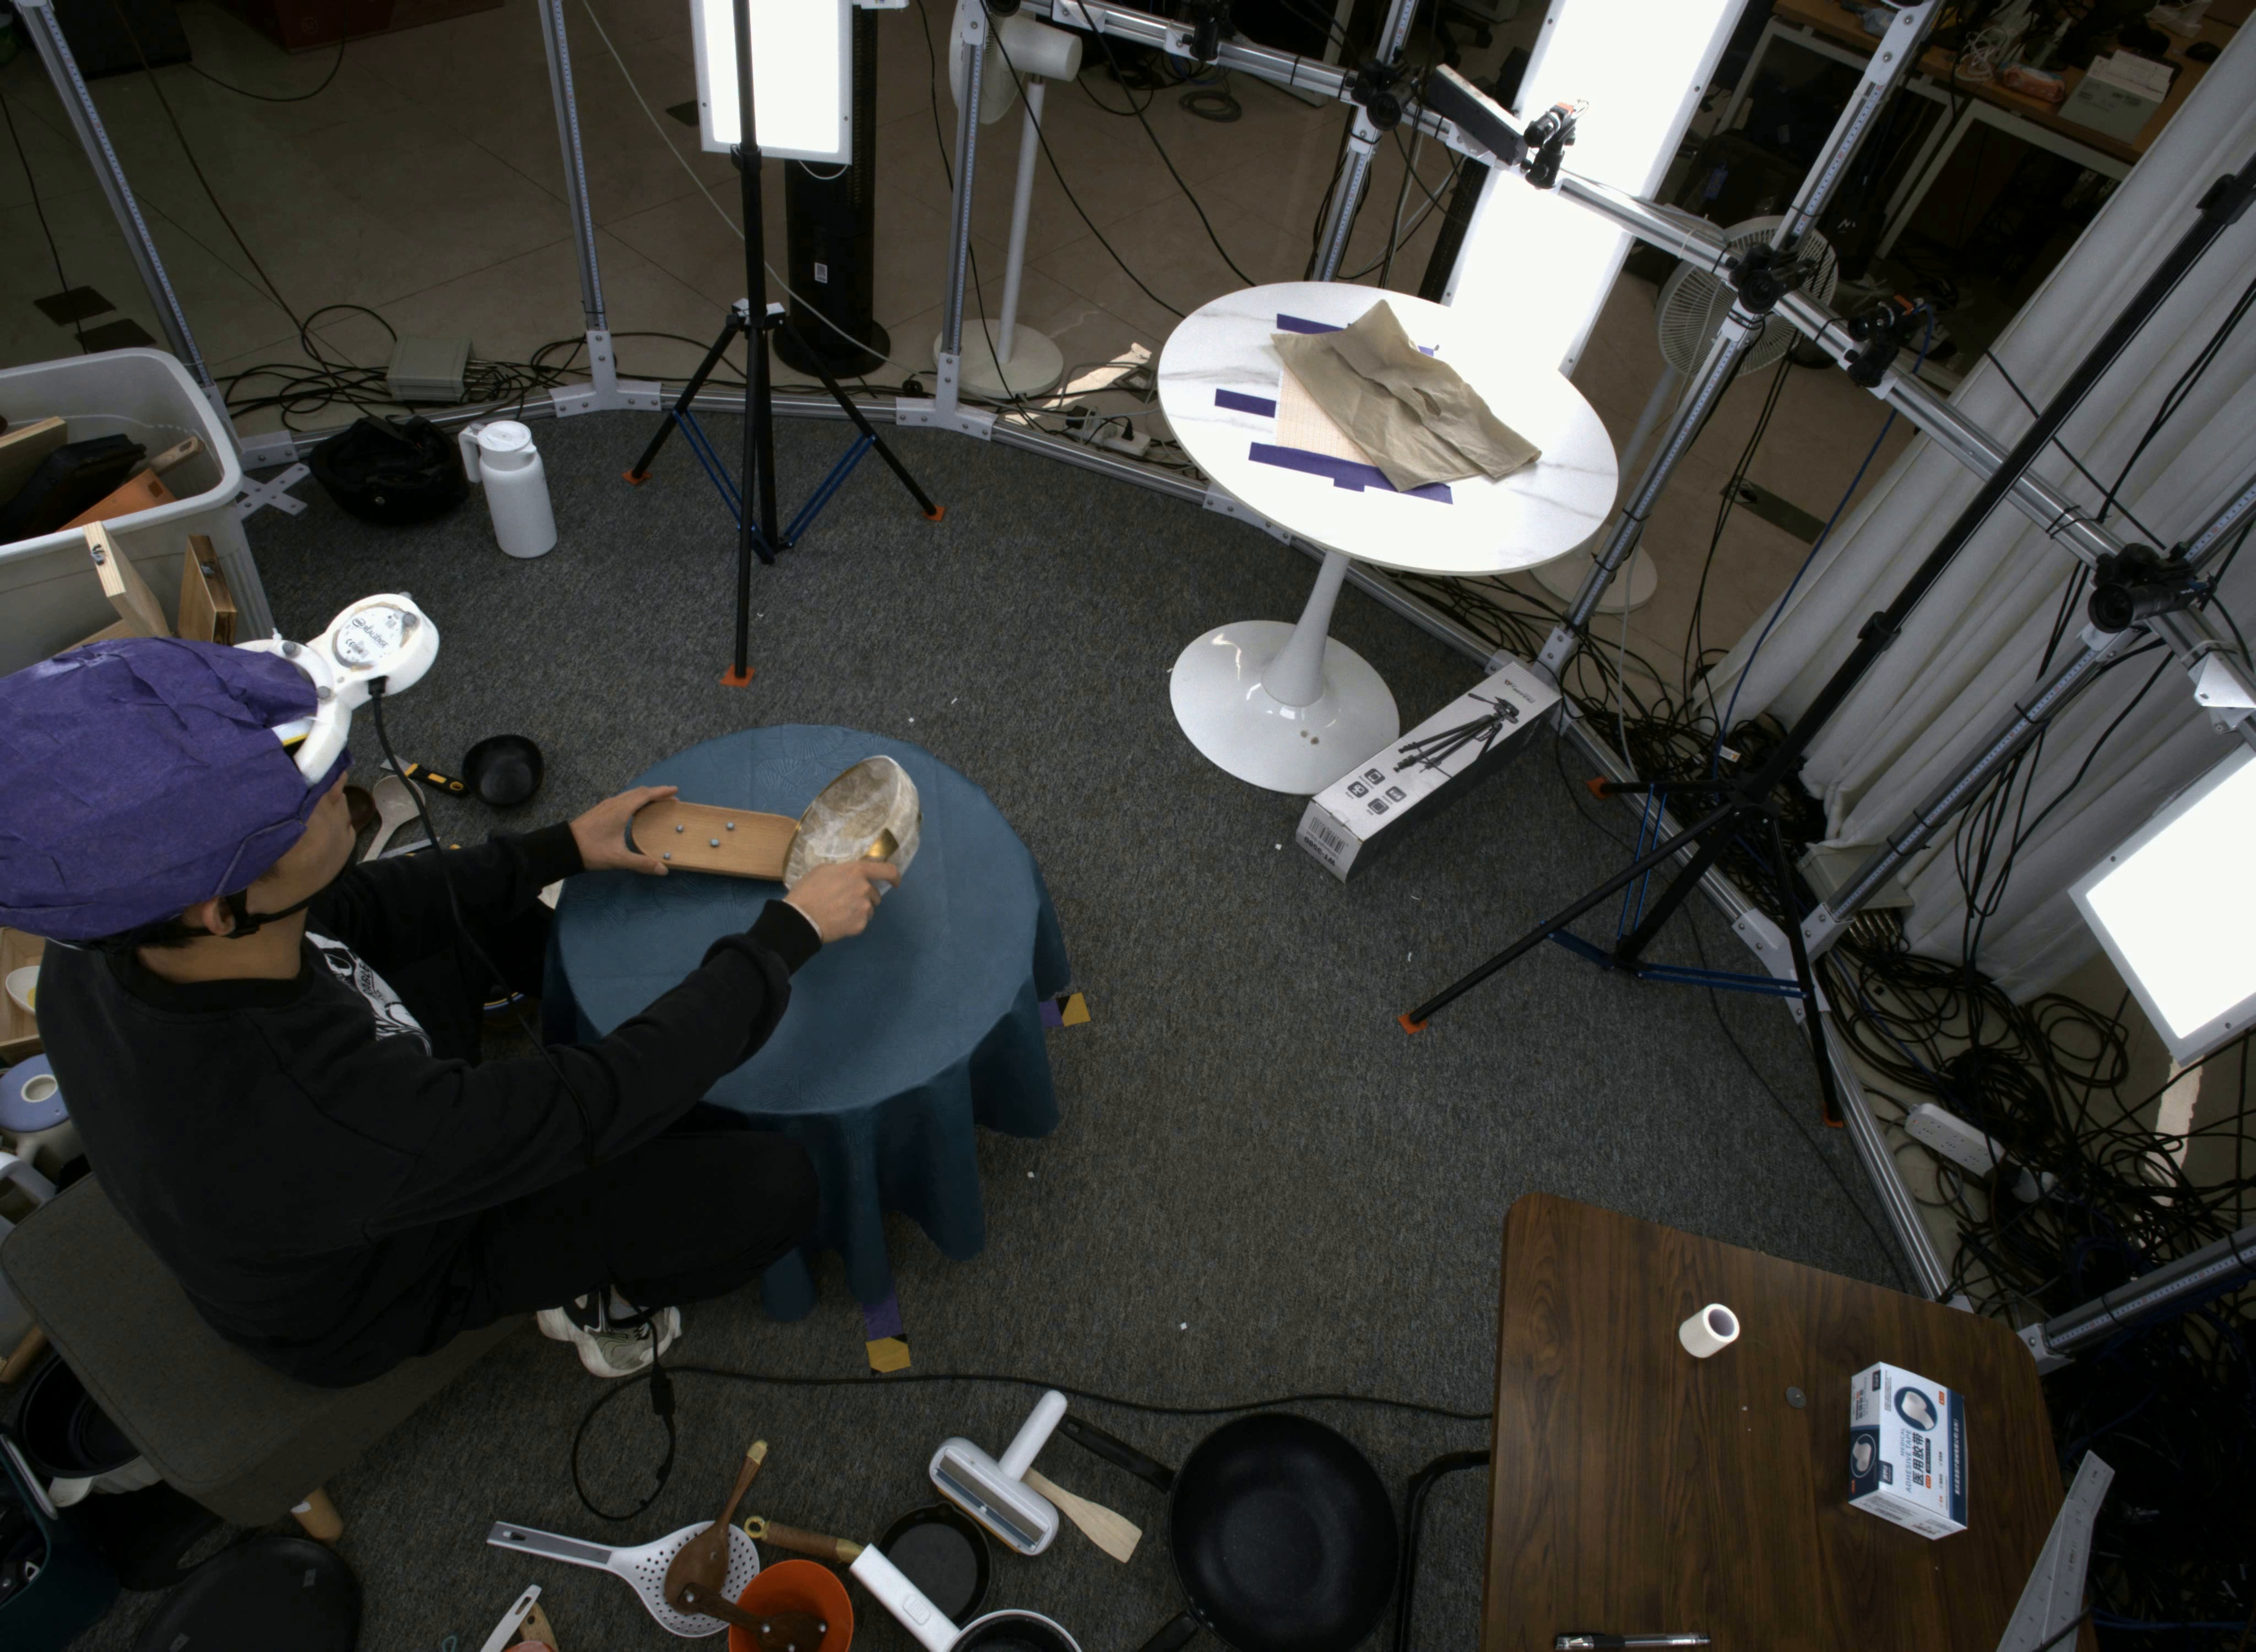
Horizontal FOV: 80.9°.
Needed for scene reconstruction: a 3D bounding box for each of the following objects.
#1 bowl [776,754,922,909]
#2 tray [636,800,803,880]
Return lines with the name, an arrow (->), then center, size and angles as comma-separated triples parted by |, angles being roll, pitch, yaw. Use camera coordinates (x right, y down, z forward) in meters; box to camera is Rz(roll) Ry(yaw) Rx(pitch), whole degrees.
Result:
bowl -> -0.325, 0.021, 1.593 | 0.098, 0.211, 0.211 | 41, 37, -38
tray -> -0.512, 0.018, 1.653 | 0.235, 0.020, 0.099 | 8, 53, -27
